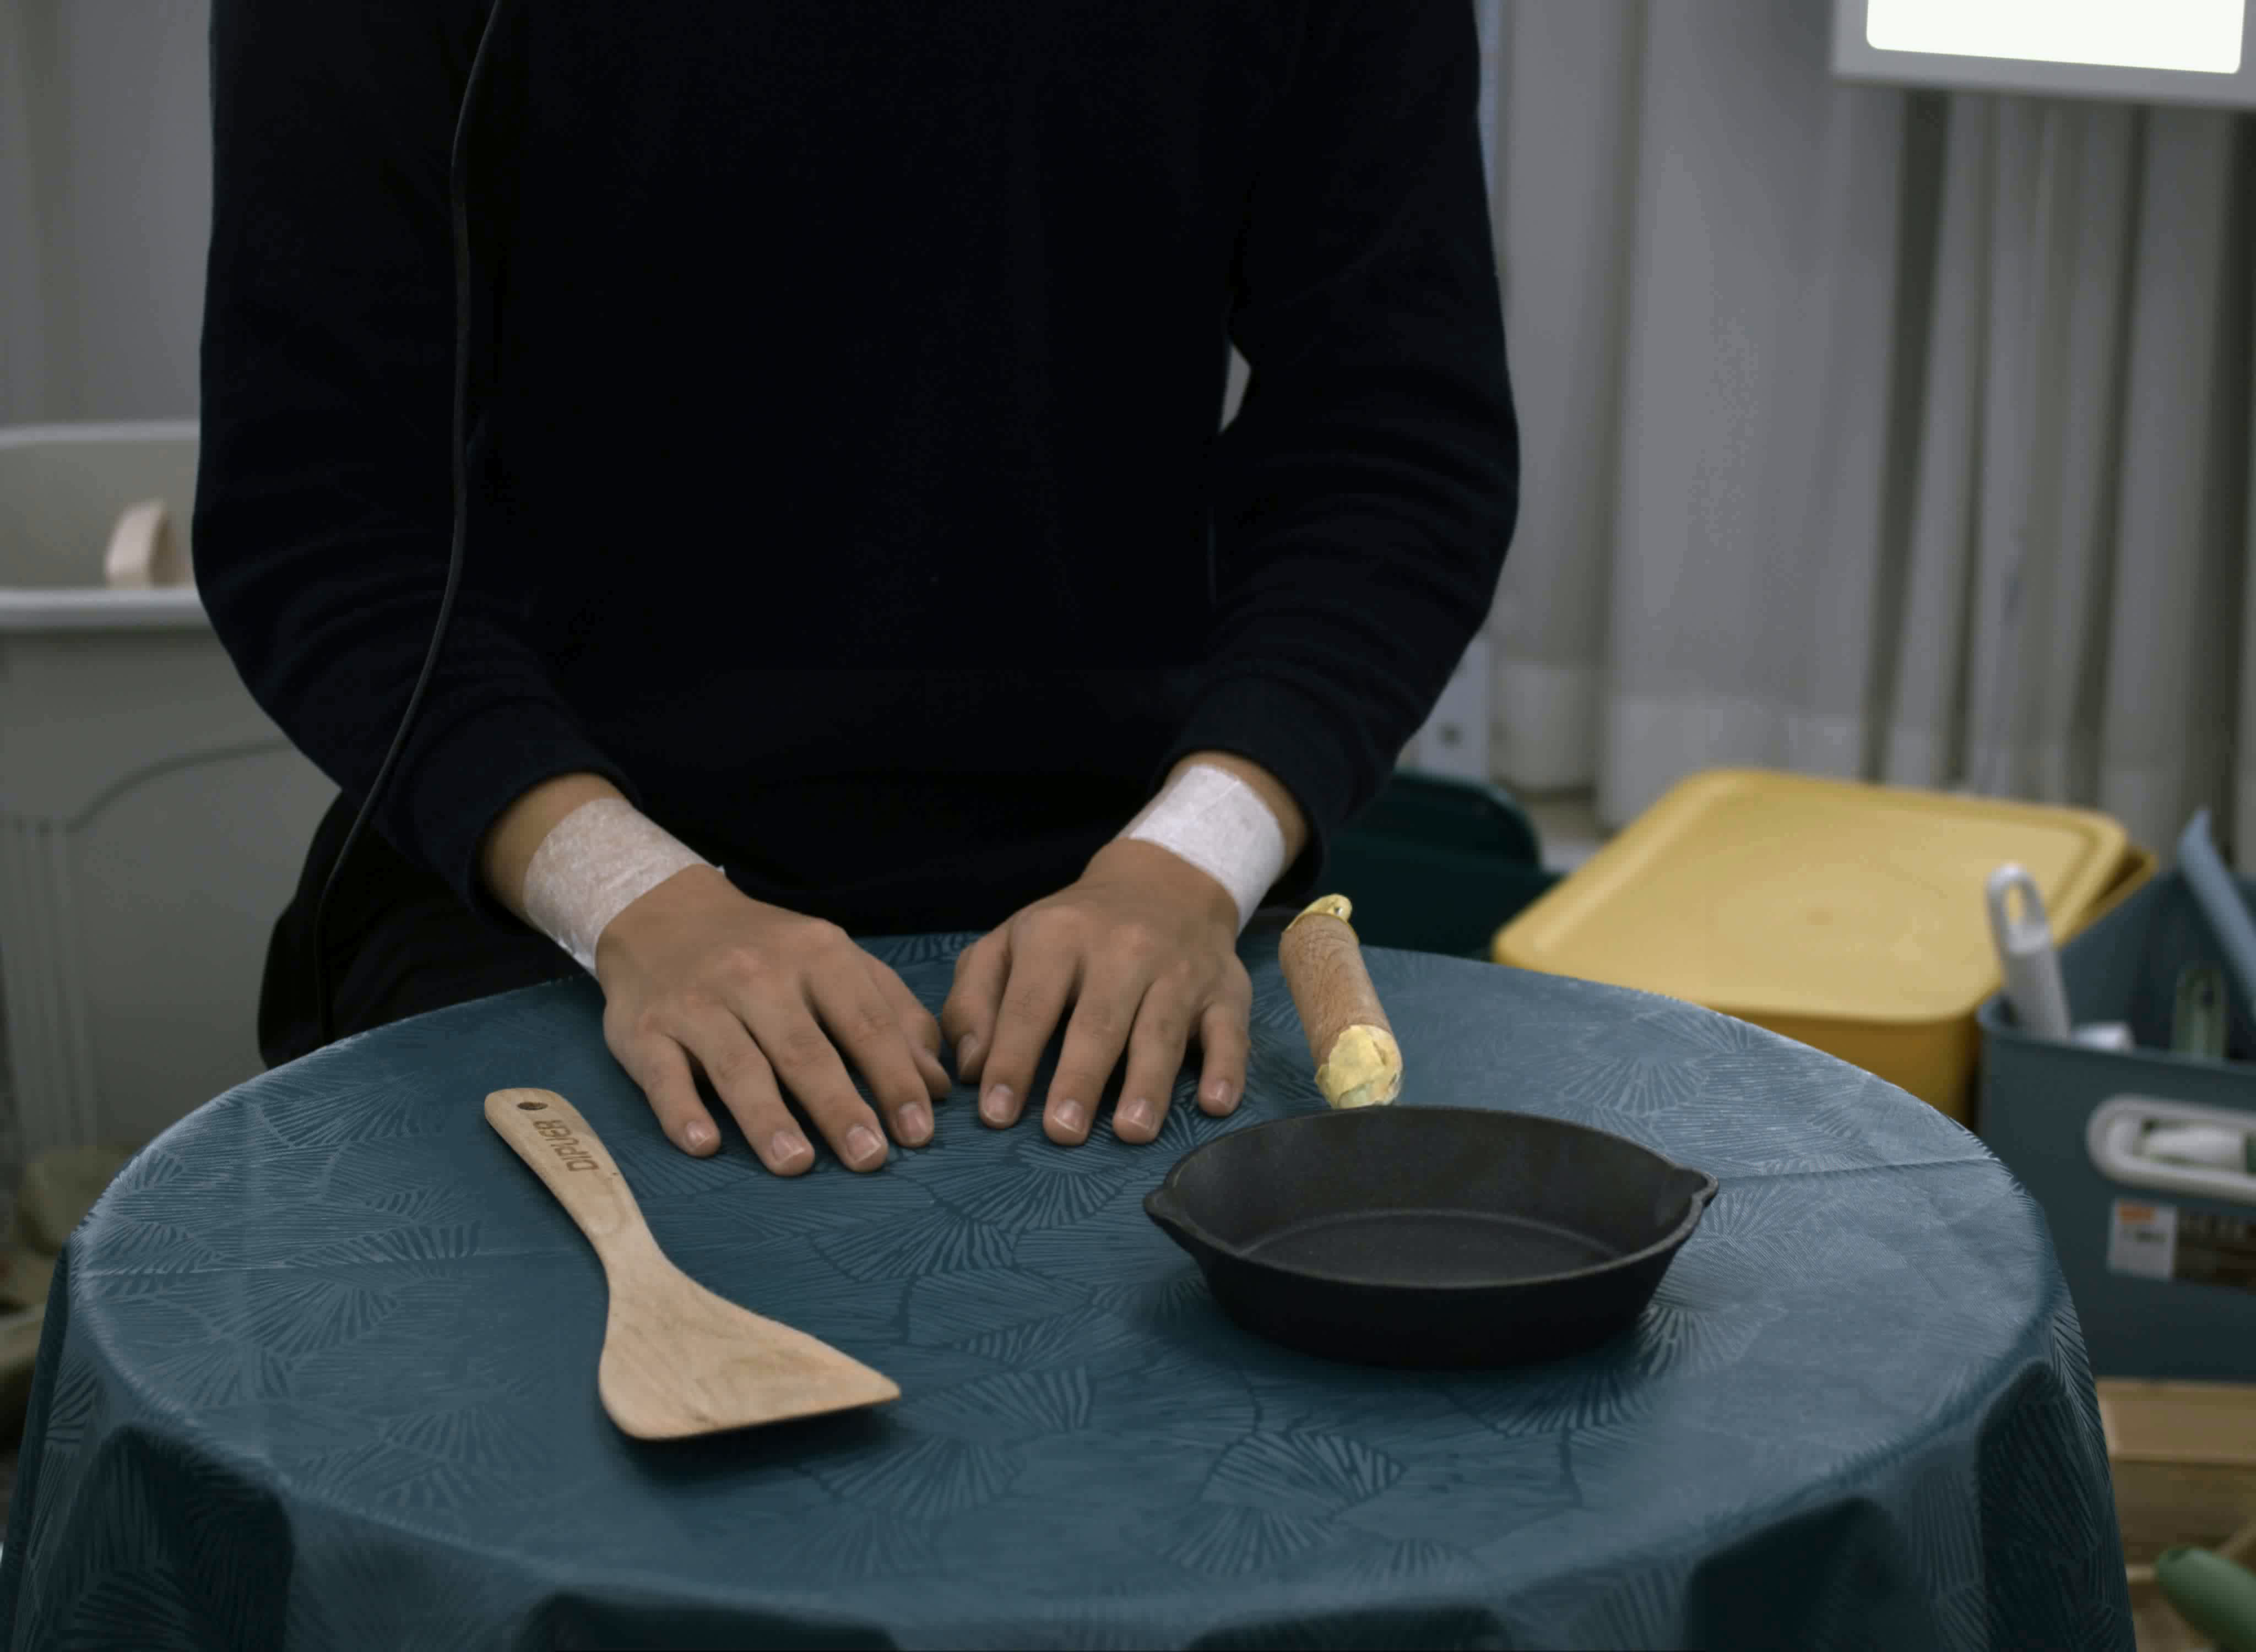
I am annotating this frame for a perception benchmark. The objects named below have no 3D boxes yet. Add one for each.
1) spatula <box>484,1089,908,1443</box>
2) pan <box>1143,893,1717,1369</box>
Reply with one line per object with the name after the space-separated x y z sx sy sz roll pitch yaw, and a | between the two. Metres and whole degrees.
-0.143 0.124 1.545 0.080 0.016 0.324 -4 16 -19 | spatula
0.080 0.090 1.611 0.168 0.050 0.322 -1 17 -5 | pan
